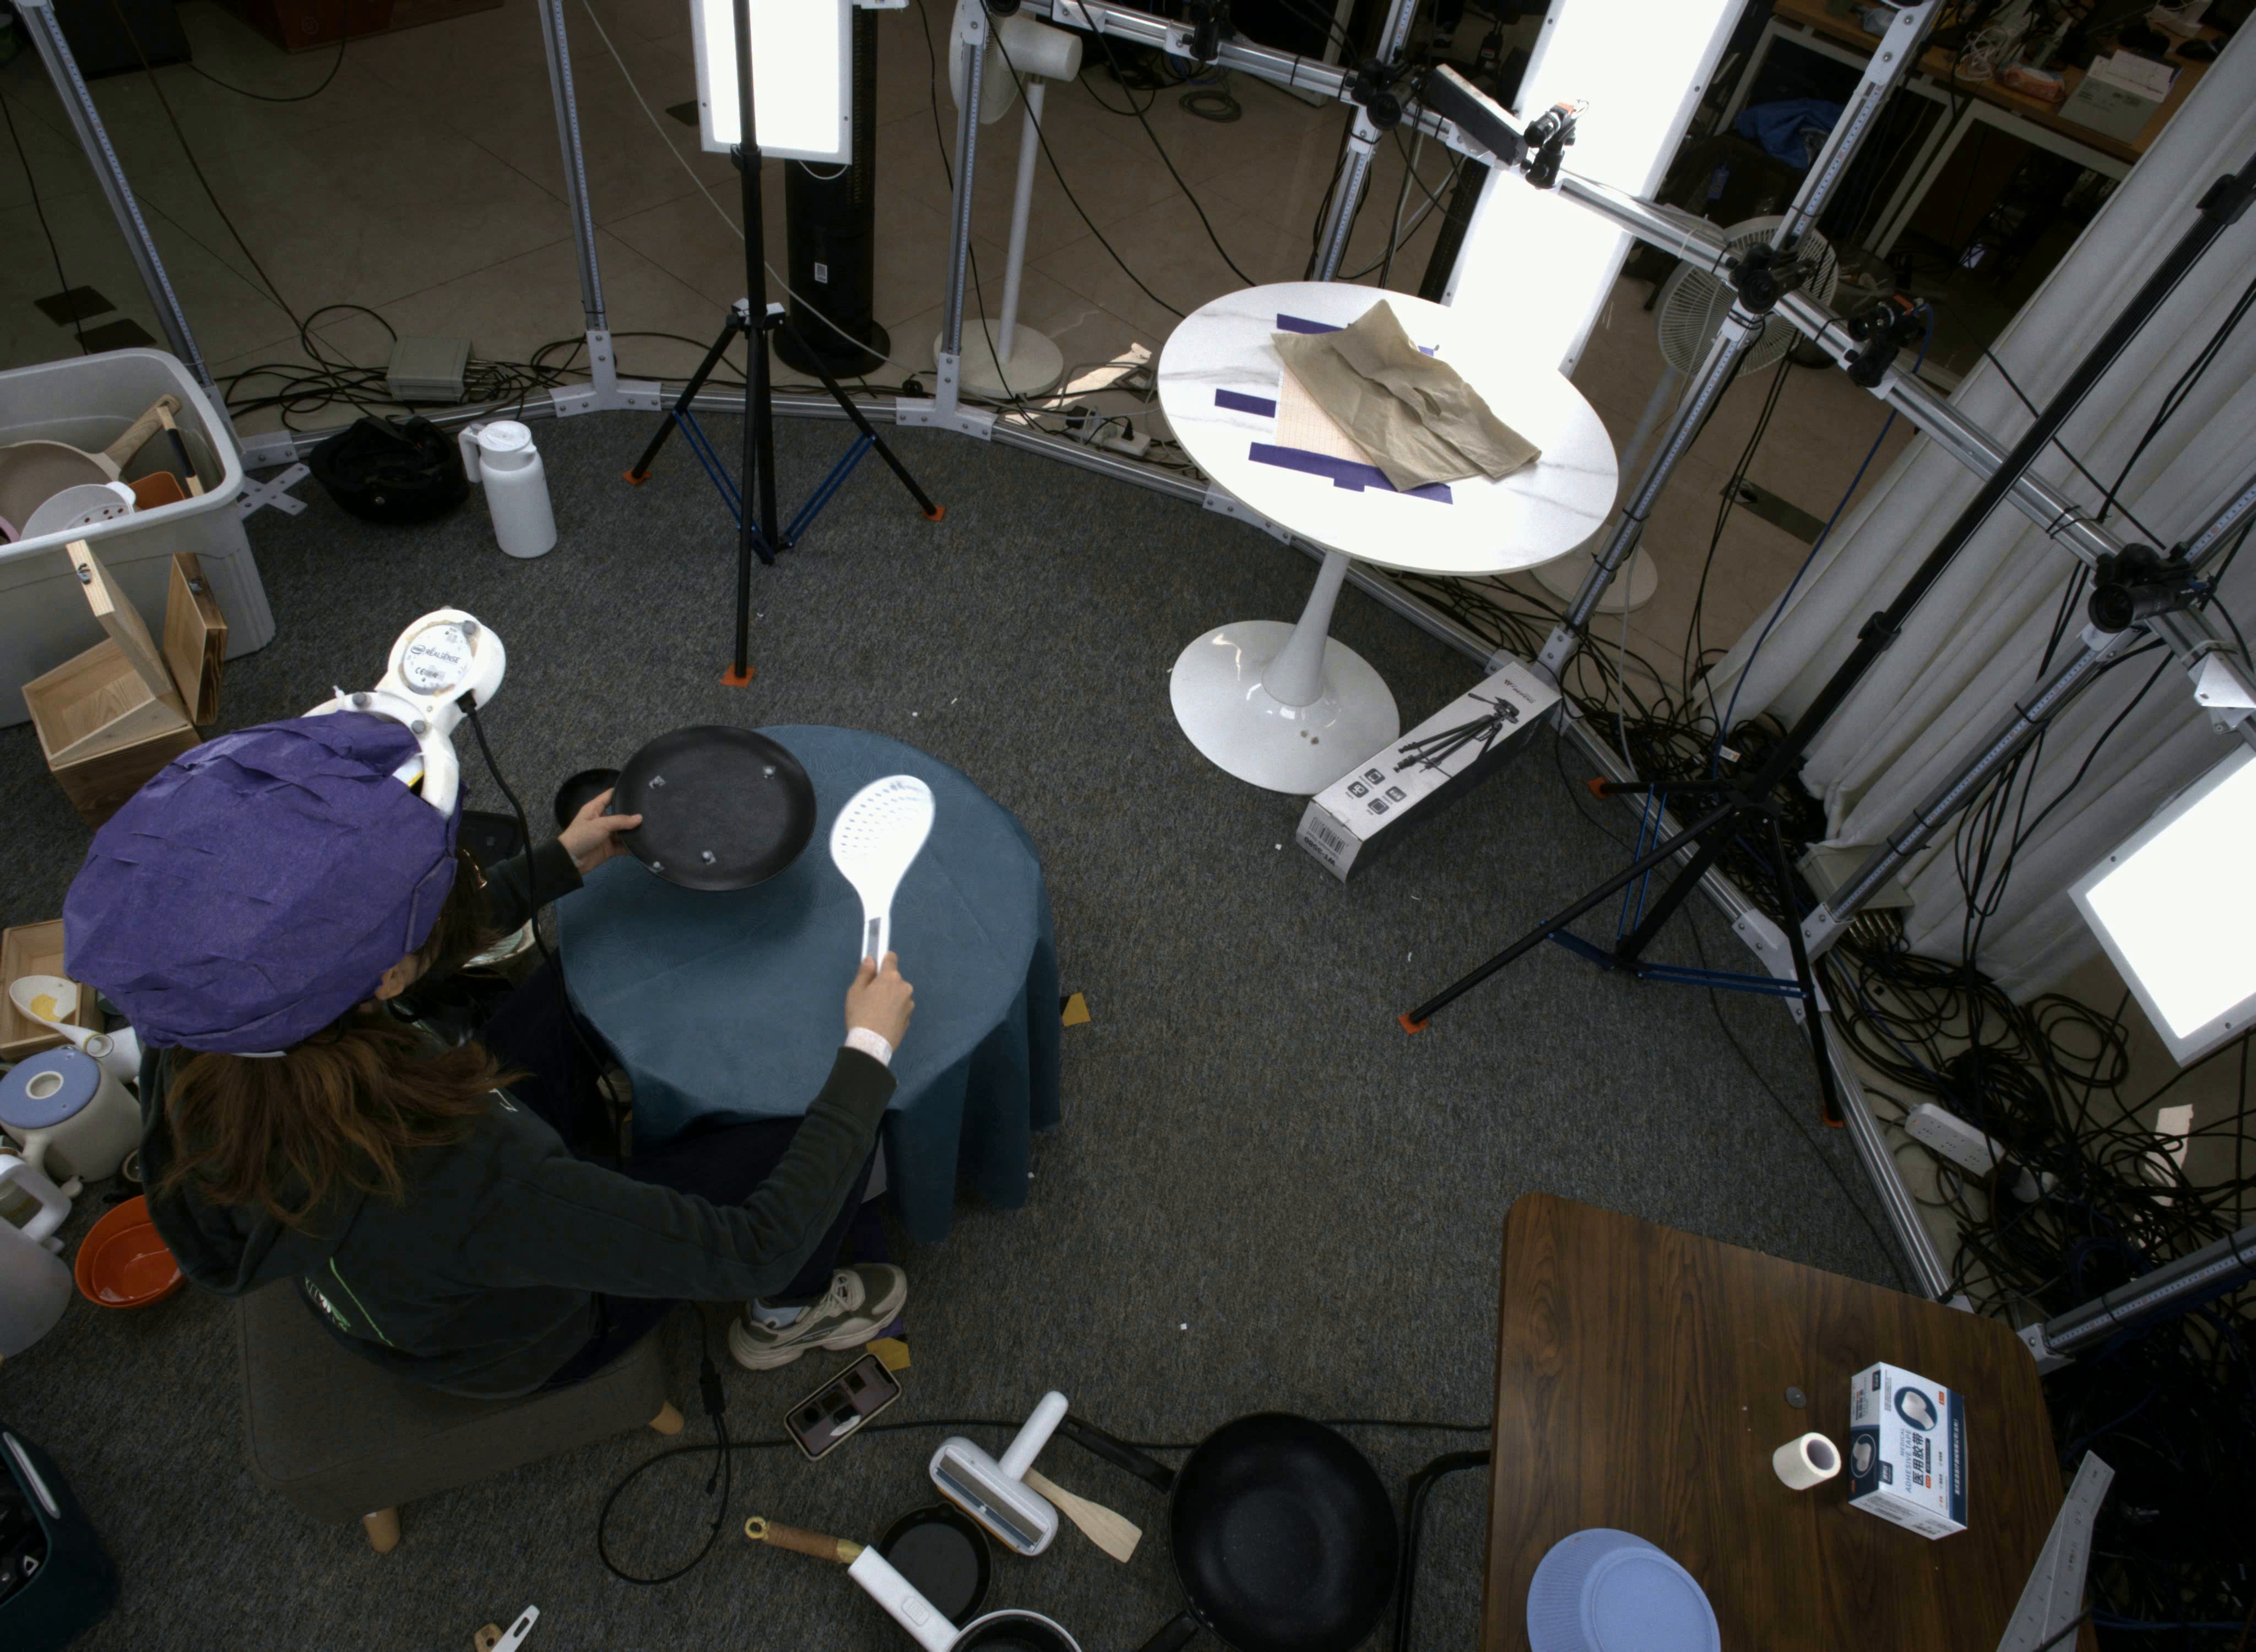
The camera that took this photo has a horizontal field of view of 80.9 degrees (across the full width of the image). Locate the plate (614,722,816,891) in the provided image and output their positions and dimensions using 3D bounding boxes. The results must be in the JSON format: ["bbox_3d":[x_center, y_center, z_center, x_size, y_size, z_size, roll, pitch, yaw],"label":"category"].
[{"bbox_3d":[-0.509,-0.023,1.588,0.245,0.023,0.240,11,57,-14],"label":"plate"}]

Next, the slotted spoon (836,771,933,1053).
[{"bbox_3d":[-0.274,0.086,1.435,0.133,0.047,0.343,-16,49,20],"label":"slotted spoon"}]
